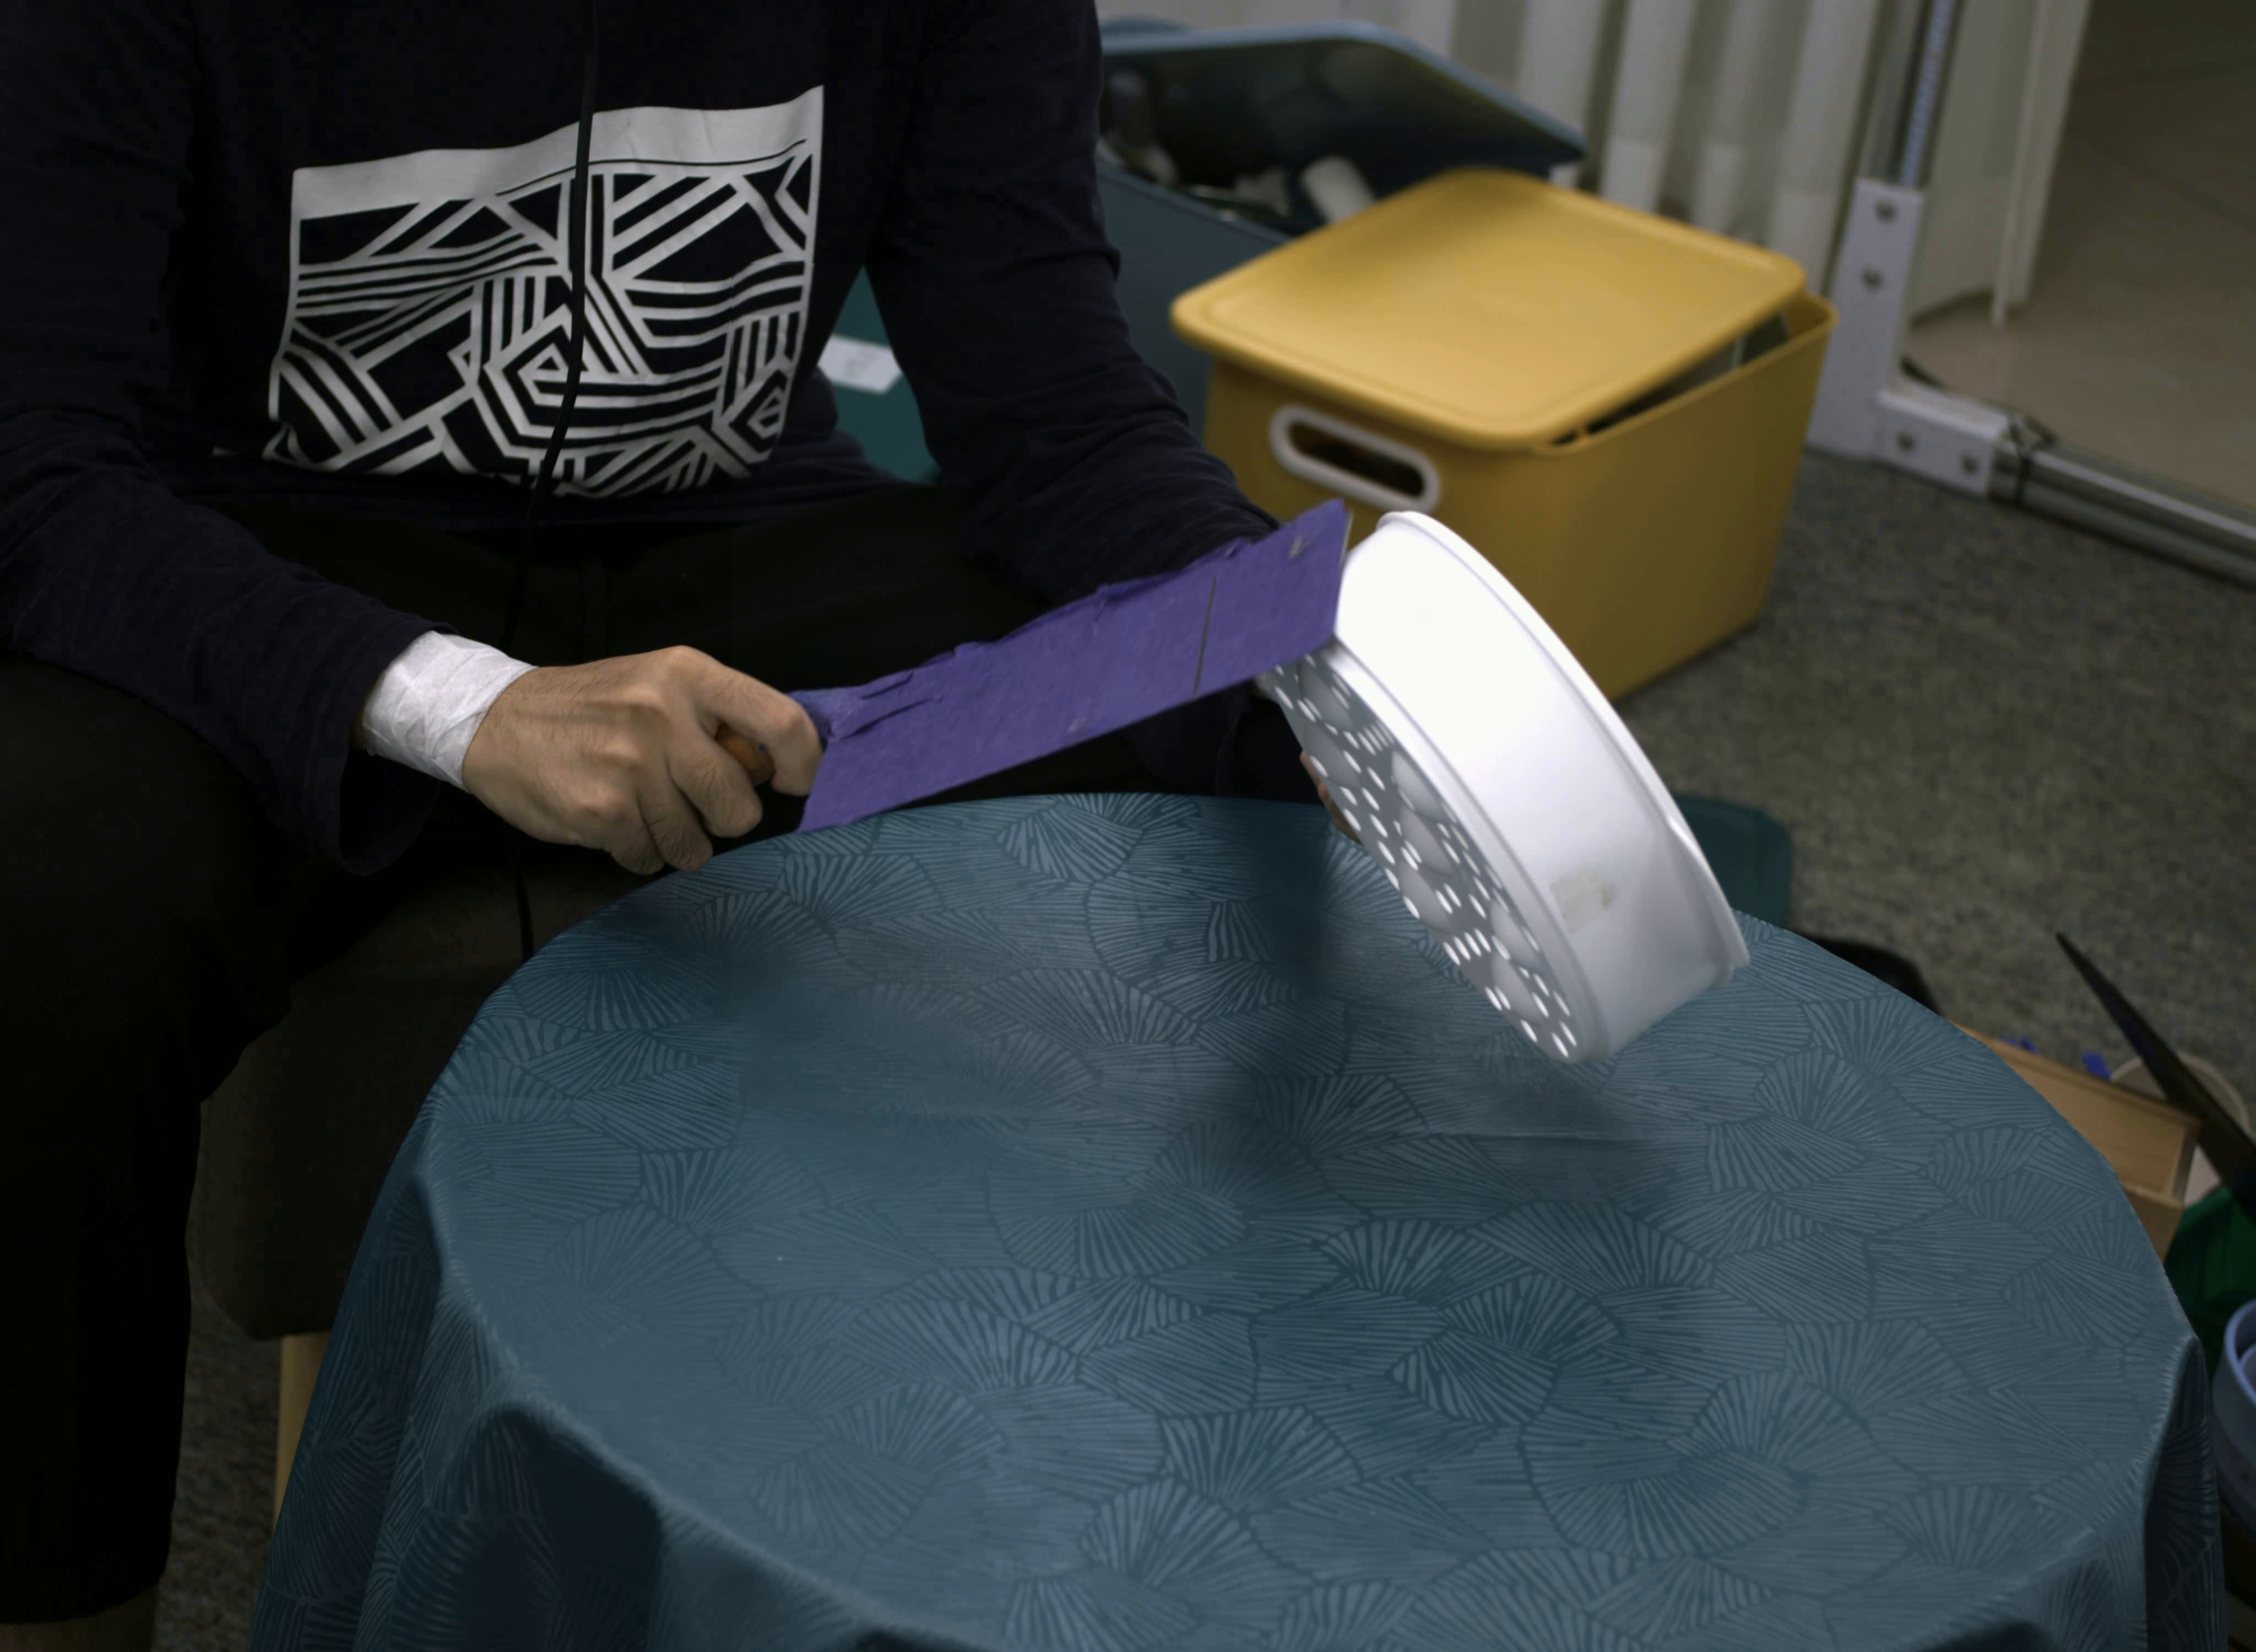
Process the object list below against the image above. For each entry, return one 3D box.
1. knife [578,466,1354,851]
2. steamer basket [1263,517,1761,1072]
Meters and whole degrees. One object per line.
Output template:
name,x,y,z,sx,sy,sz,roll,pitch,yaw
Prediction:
knife,-0.063,-0.044,1.858,0.315,0.032,0.104,-23,26,21
steamer basket,0.125,-0.007,1.827,0.069,0.200,0.233,-36,42,-9
